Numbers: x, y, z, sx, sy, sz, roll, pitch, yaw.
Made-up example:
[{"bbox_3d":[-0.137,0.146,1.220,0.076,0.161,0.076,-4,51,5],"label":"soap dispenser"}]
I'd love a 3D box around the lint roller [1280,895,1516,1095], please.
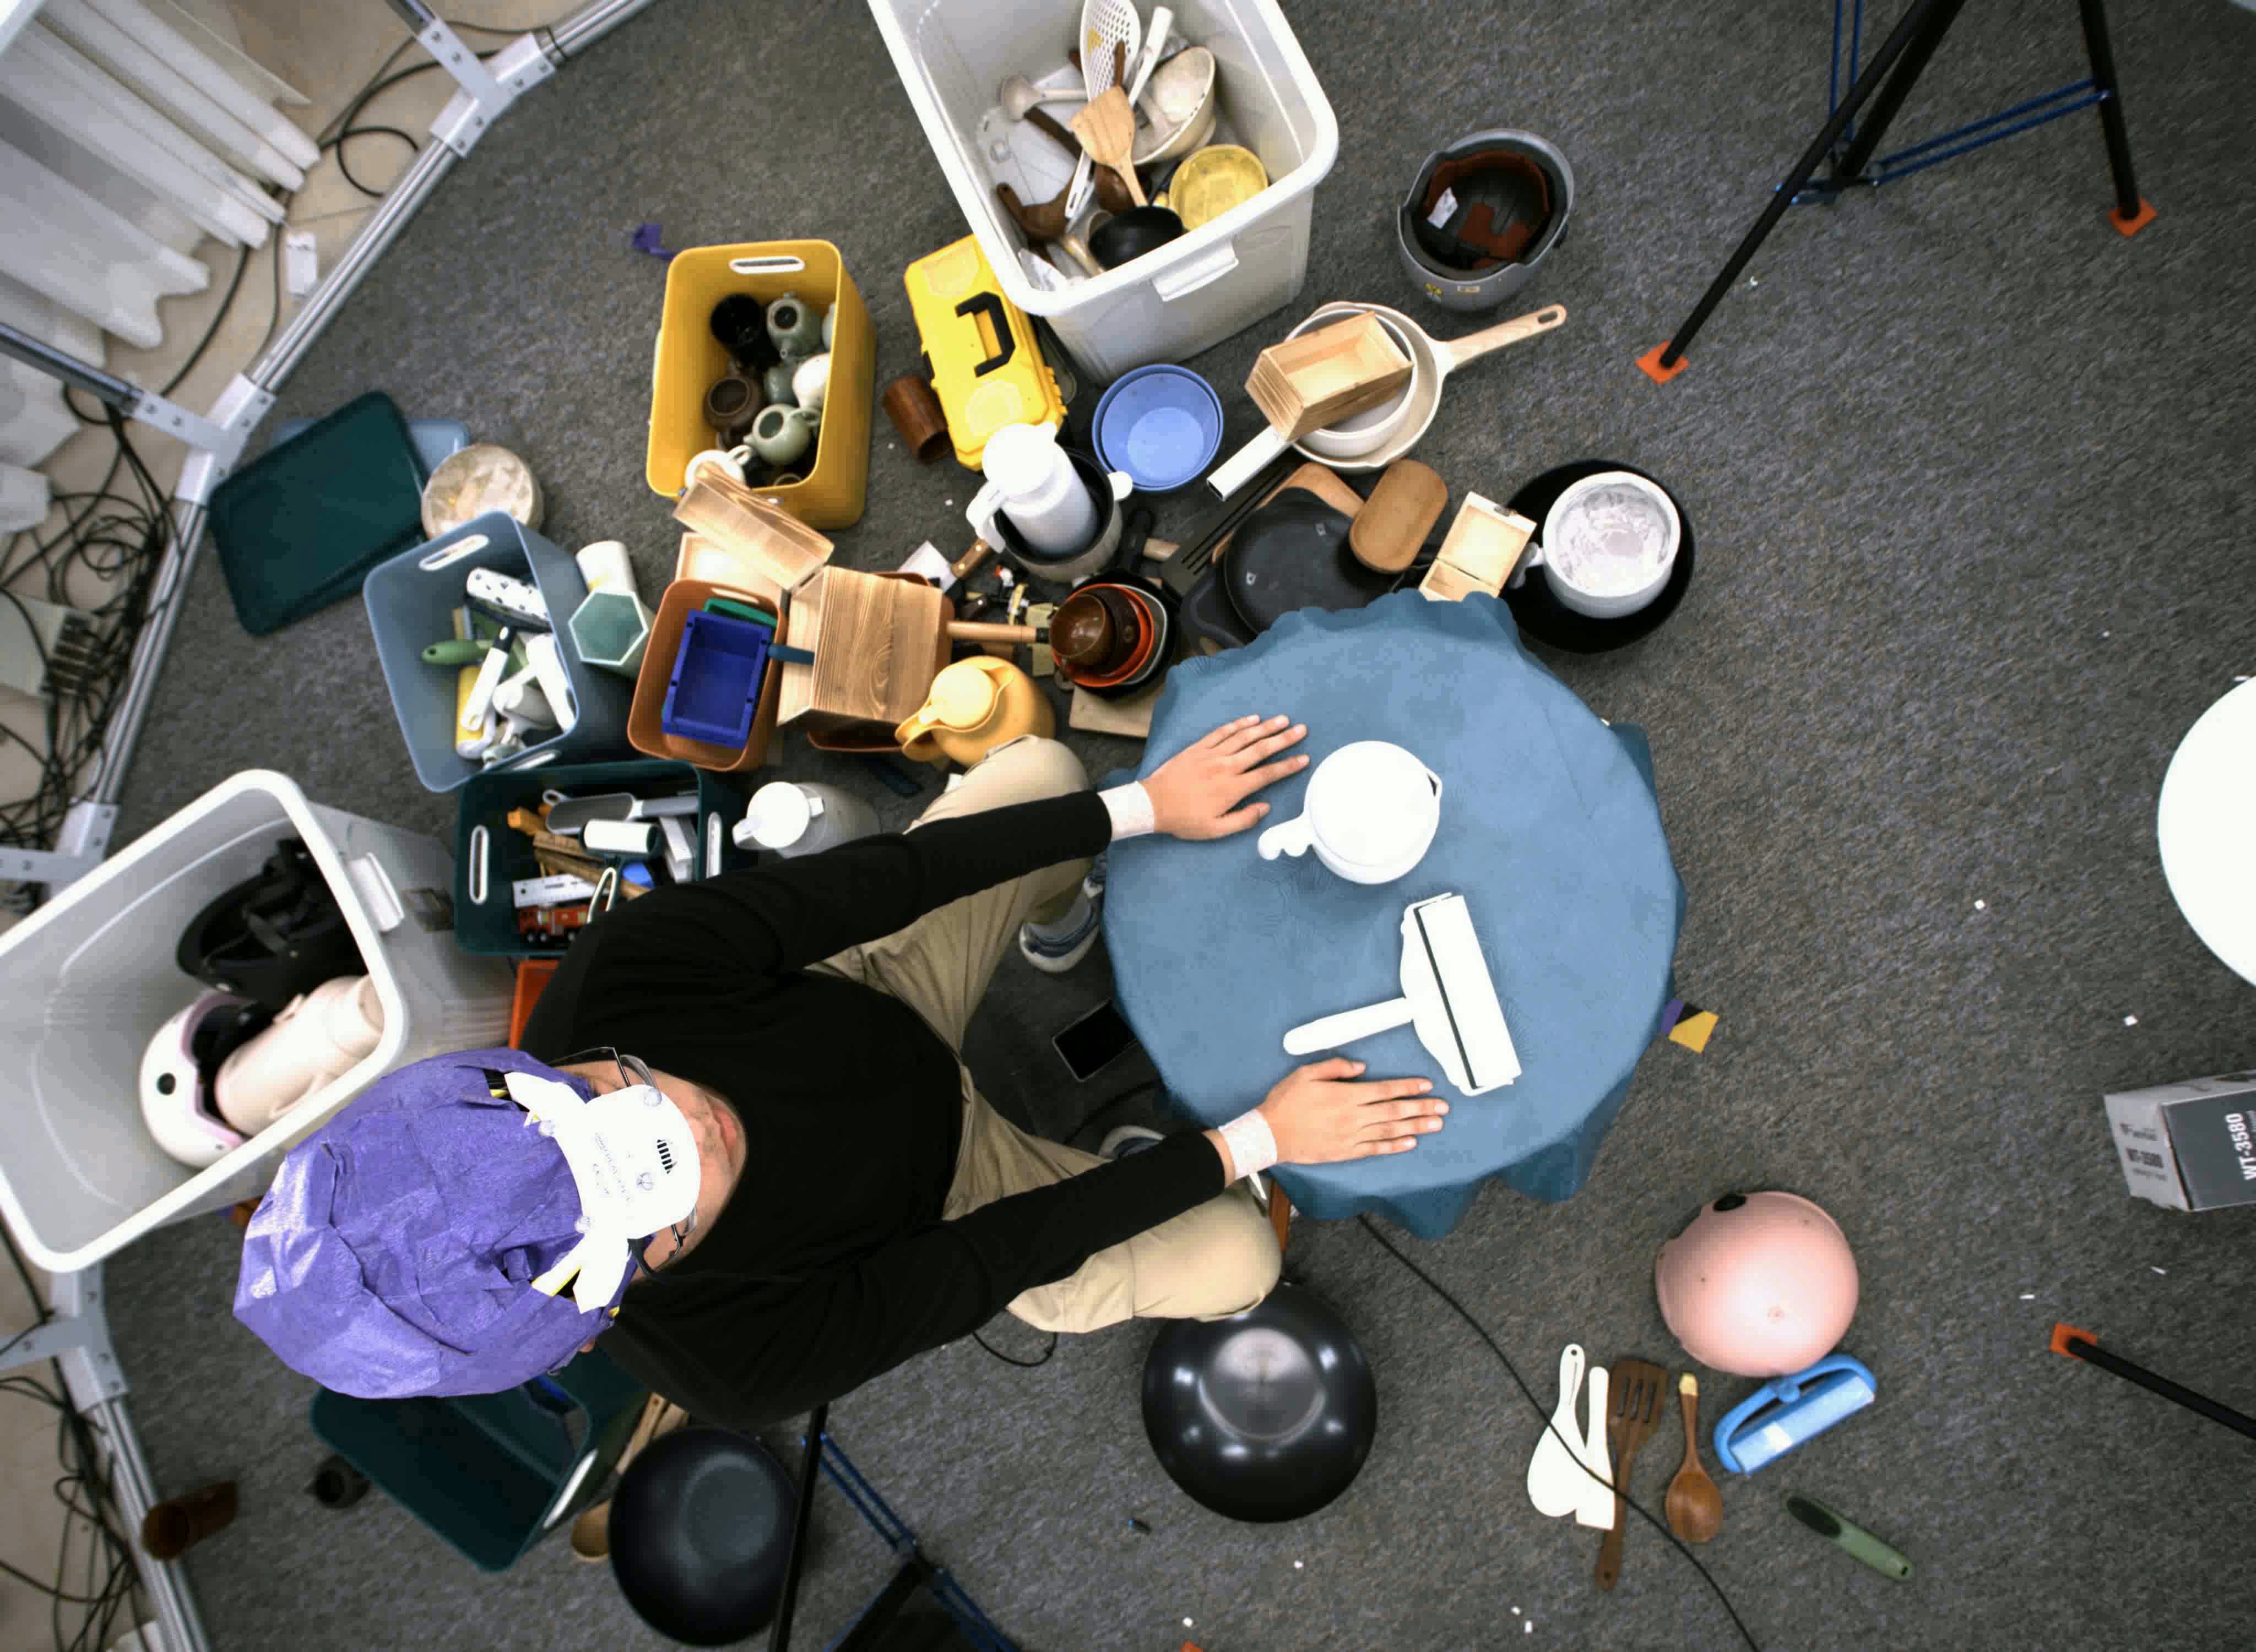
[{"bbox_3d":[0.265,0.196,1.433,0.227,0.048,0.201,-19,85,10],"label":"lint roller"}]

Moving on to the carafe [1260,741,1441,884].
[{"bbox_3d":[0.221,-0.005,1.386,0.192,0.182,0.131,-20,81,10],"label":"carafe"}]
